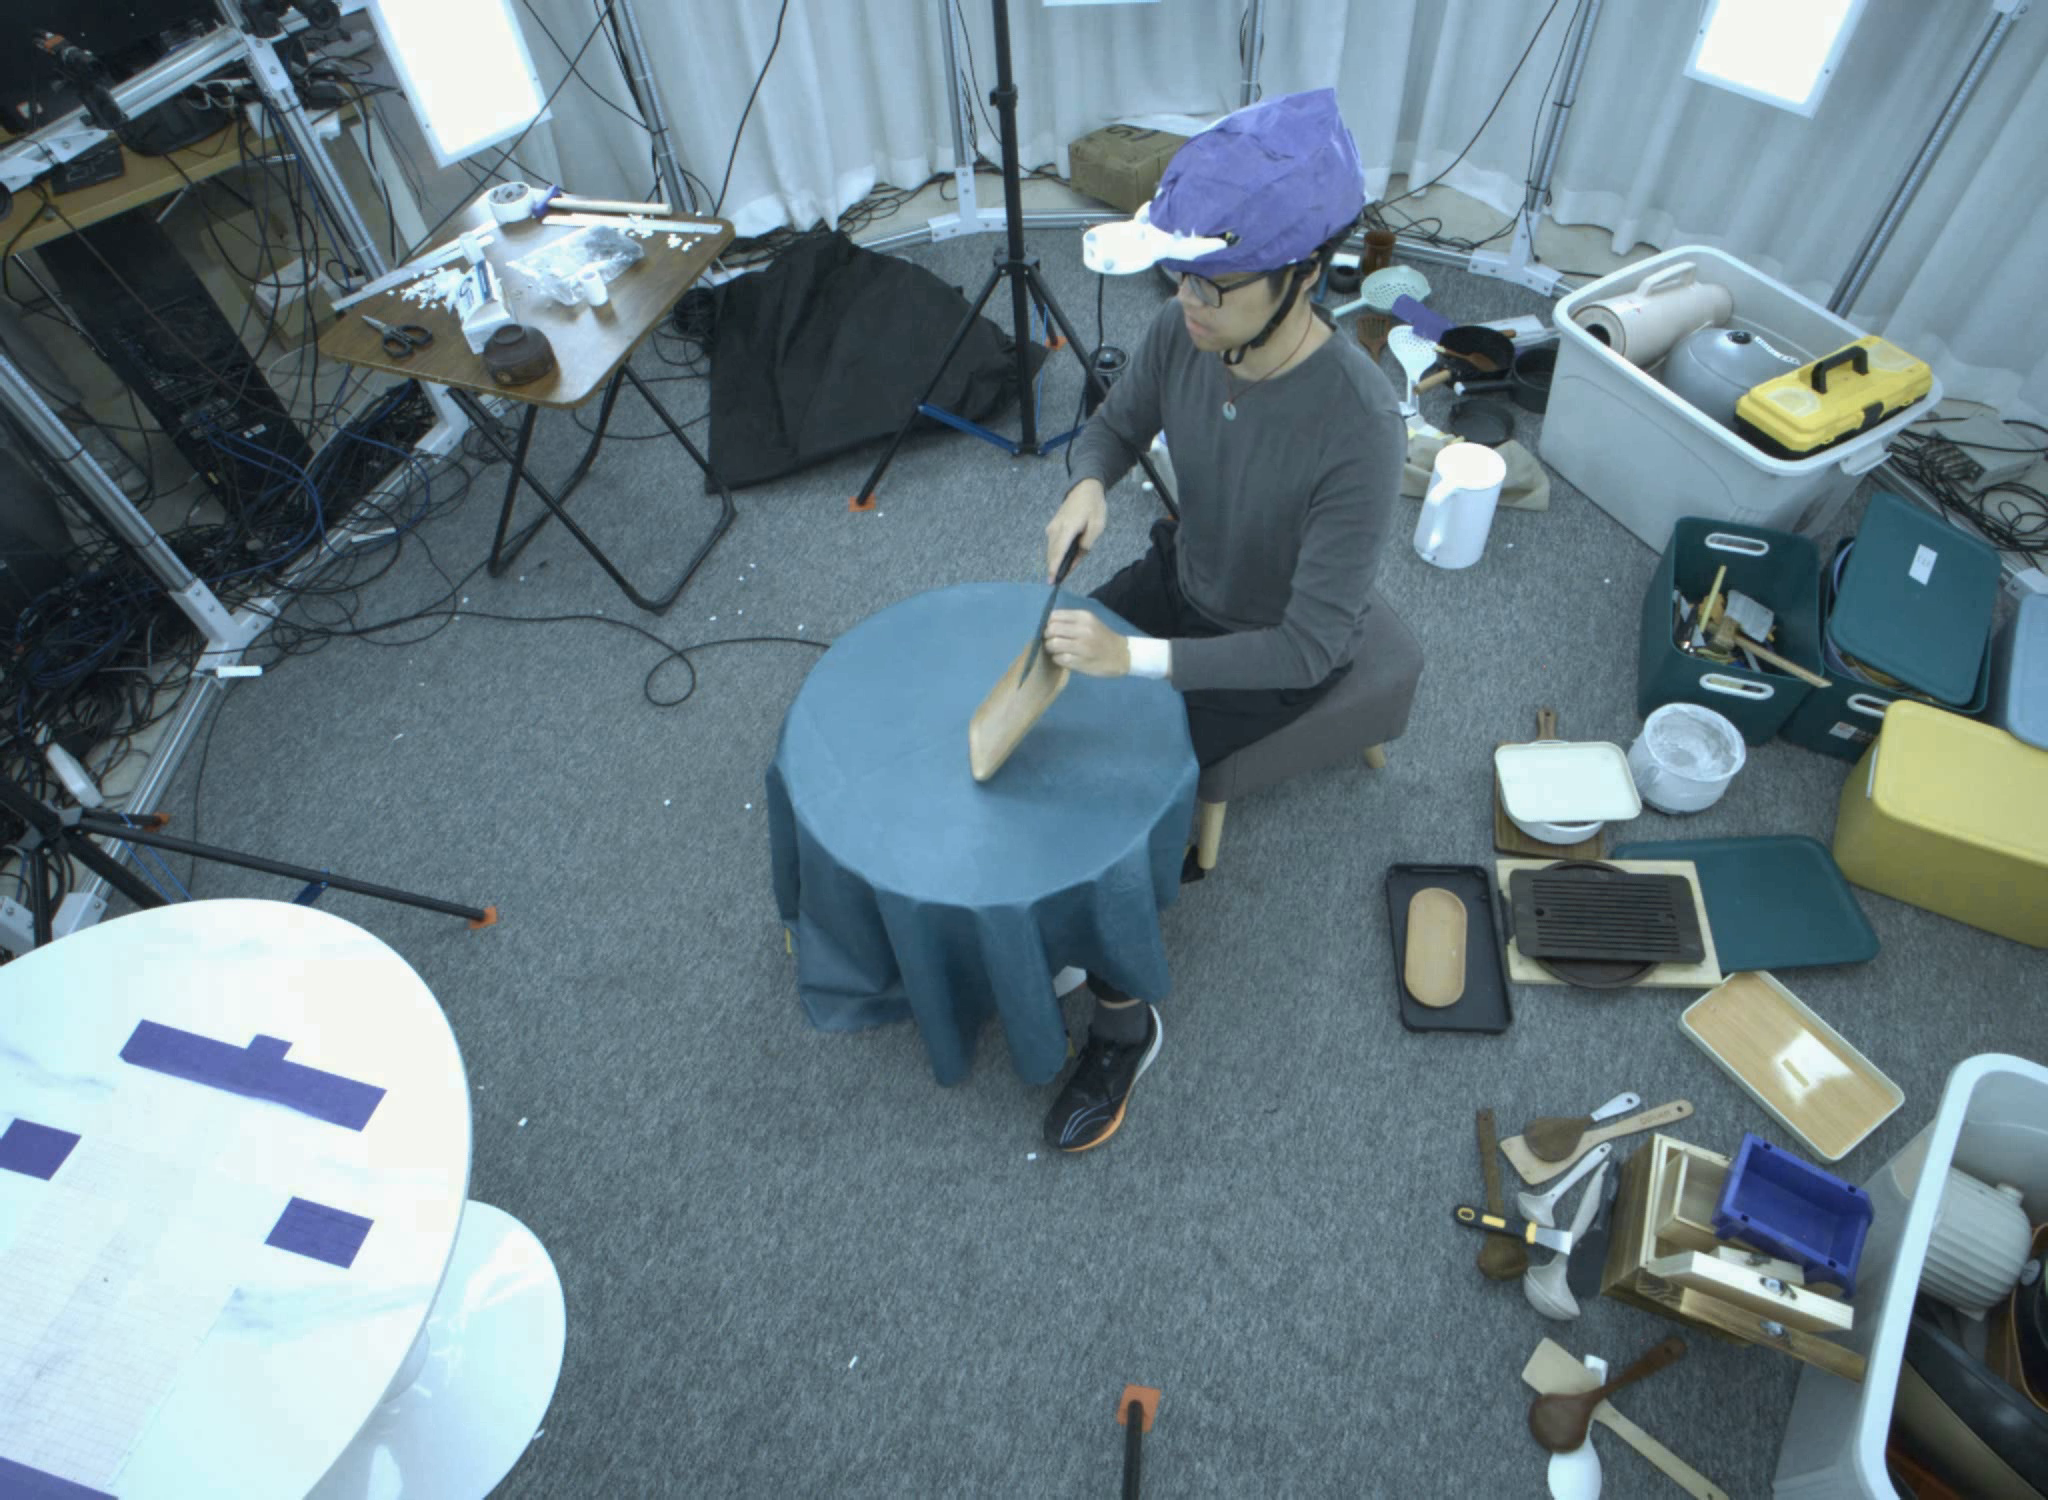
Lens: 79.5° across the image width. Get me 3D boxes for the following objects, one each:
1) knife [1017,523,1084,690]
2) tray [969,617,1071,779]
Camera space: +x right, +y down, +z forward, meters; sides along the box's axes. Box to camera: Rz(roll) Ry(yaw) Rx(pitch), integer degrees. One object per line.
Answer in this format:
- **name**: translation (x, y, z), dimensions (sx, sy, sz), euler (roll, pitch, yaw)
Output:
- **knife**: translation (0.037, -0.206, 1.694), dimensions (0.021, 0.080, 0.301), euler (24, 56, -9)
- **tray**: translation (-0.008, -0.069, 1.712), dimensions (0.023, 0.249, 0.129), euler (16, 45, -29)
